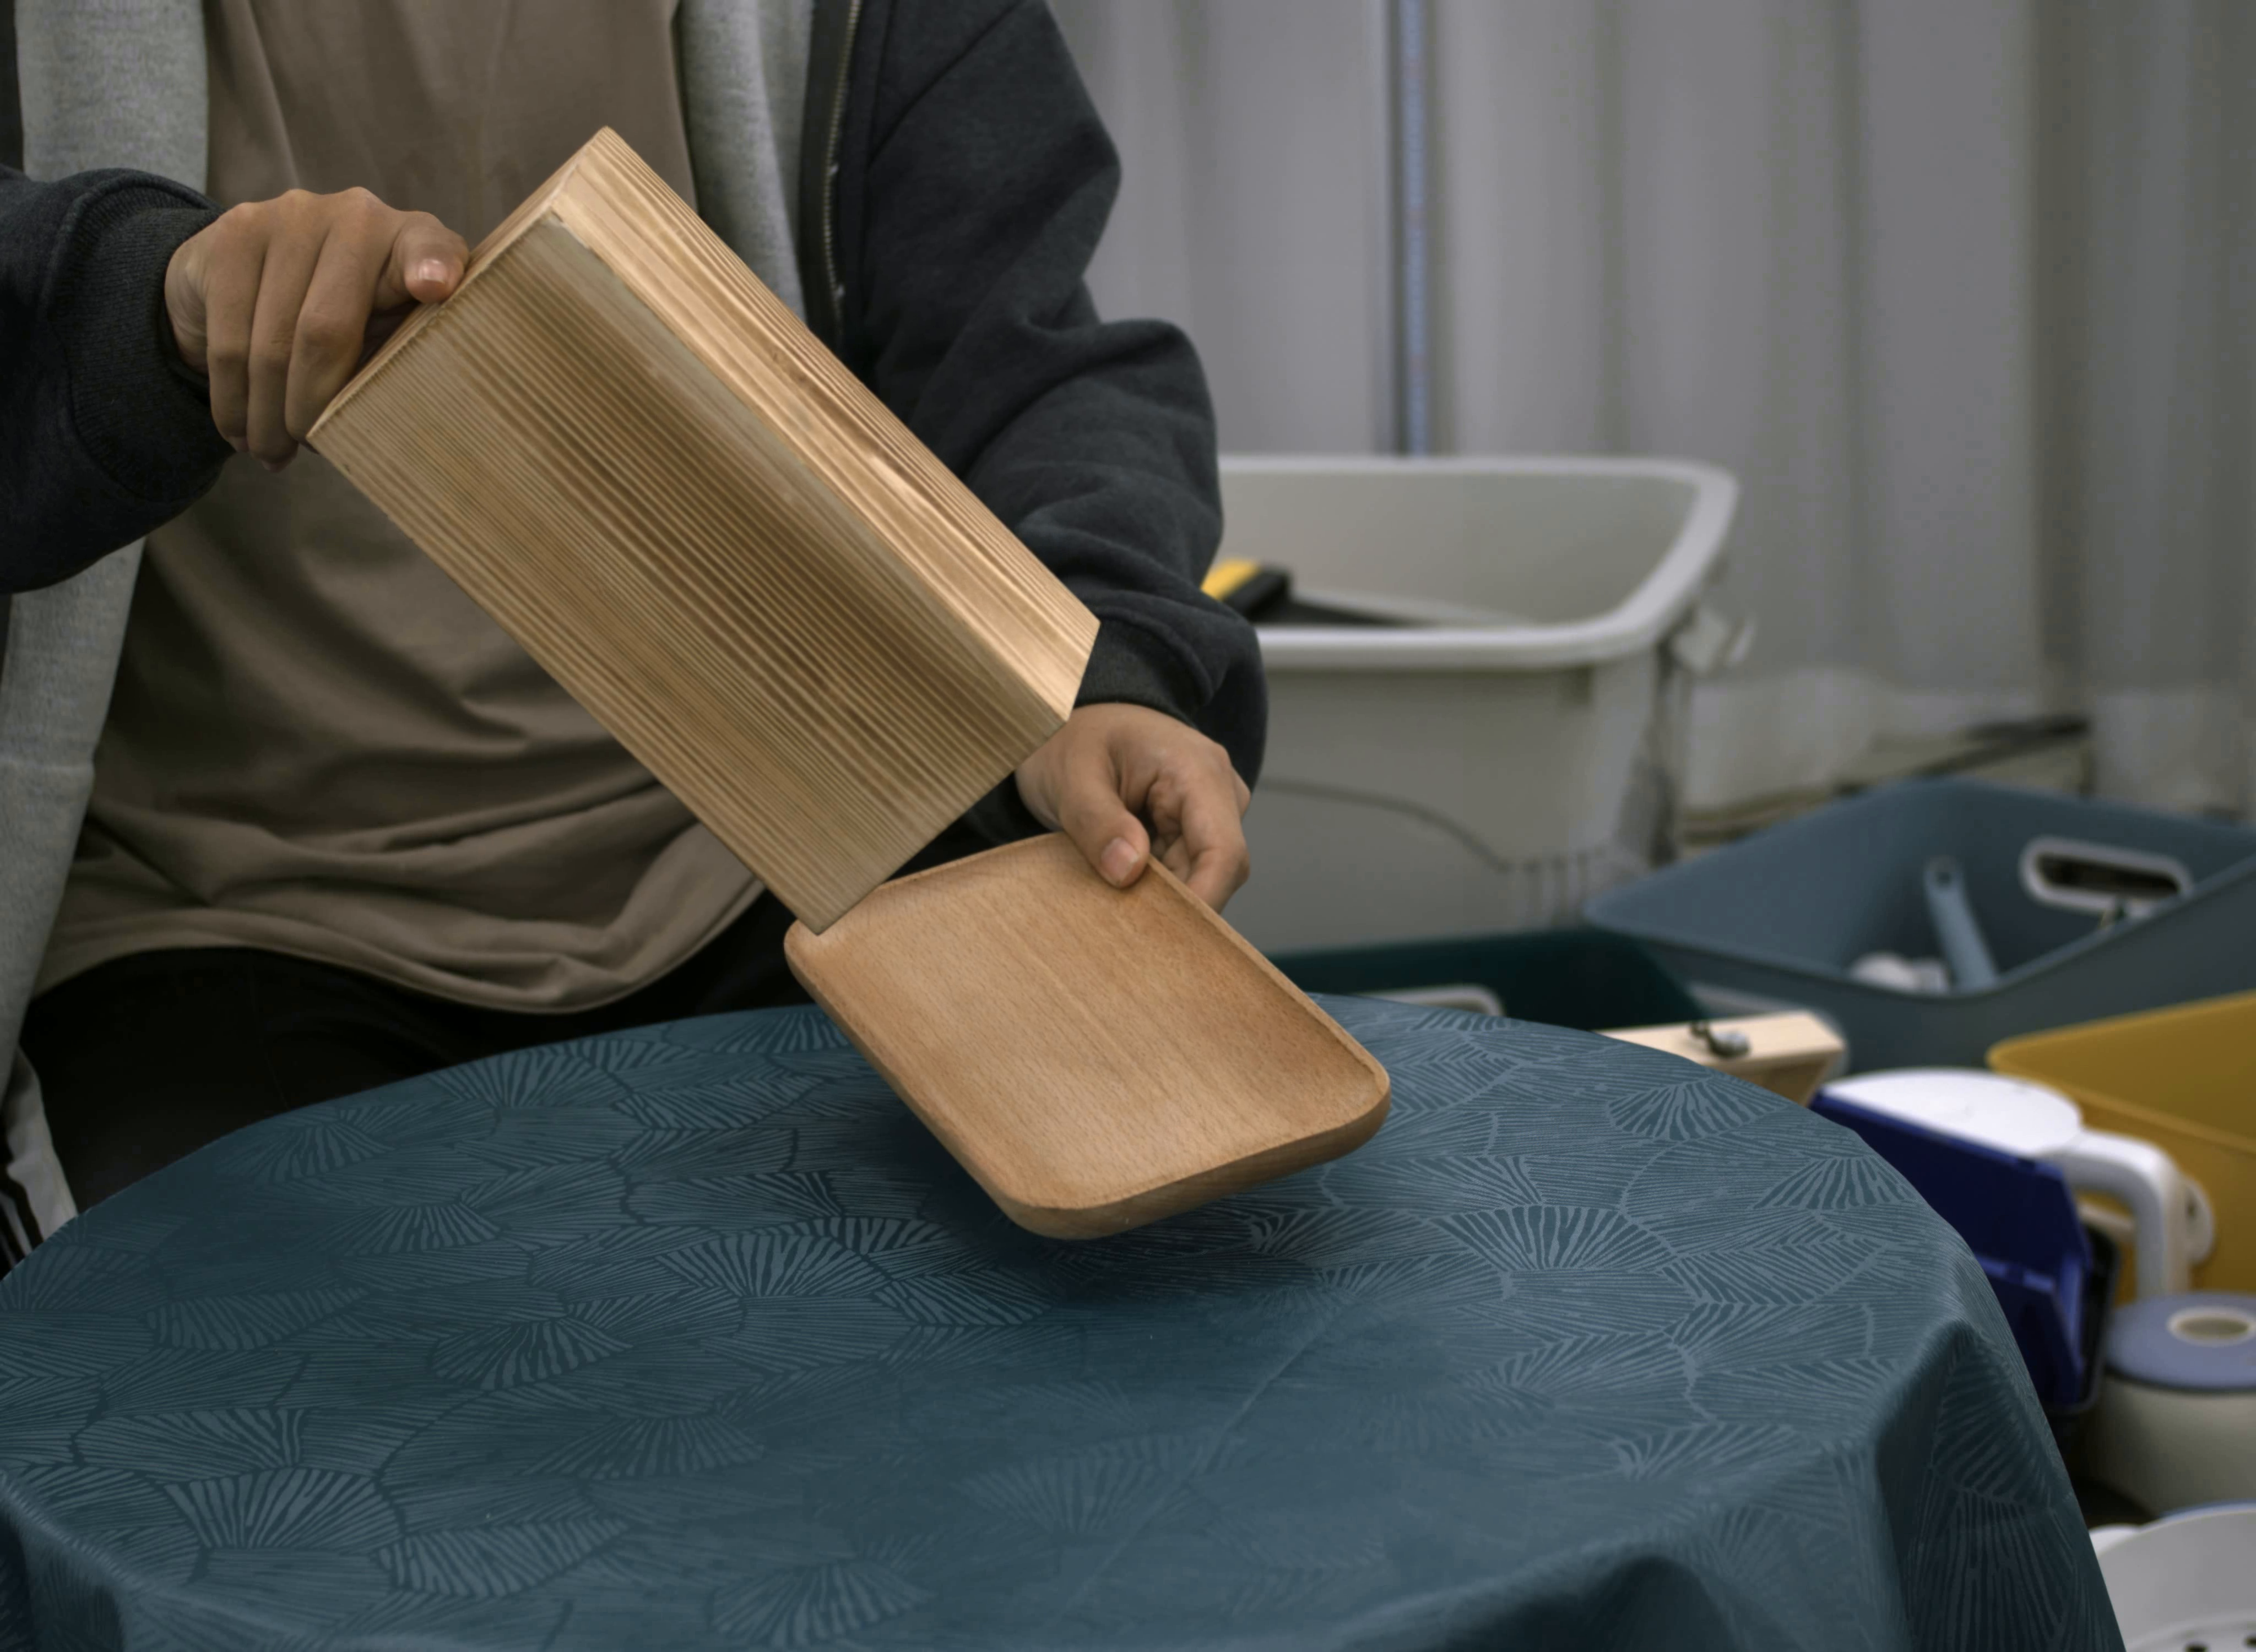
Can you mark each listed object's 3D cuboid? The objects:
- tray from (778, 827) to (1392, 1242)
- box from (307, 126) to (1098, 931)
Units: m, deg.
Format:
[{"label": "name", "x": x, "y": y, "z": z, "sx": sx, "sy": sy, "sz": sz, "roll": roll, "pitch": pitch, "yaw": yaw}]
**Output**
[{"label": "tray", "x": -0.017, "y": 0.062, "z": 1.721, "sx": 0.130, "sy": 0.023, "sz": 0.253, "roll": -14, "pitch": 25, "yaw": -17}, {"label": "box", "x": -0.123, "y": -0.087, "z": 1.617, "sx": 0.107, "sy": 0.210, "sz": 0.081, "roll": -41, "pitch": 12, "yaw": 22}]
